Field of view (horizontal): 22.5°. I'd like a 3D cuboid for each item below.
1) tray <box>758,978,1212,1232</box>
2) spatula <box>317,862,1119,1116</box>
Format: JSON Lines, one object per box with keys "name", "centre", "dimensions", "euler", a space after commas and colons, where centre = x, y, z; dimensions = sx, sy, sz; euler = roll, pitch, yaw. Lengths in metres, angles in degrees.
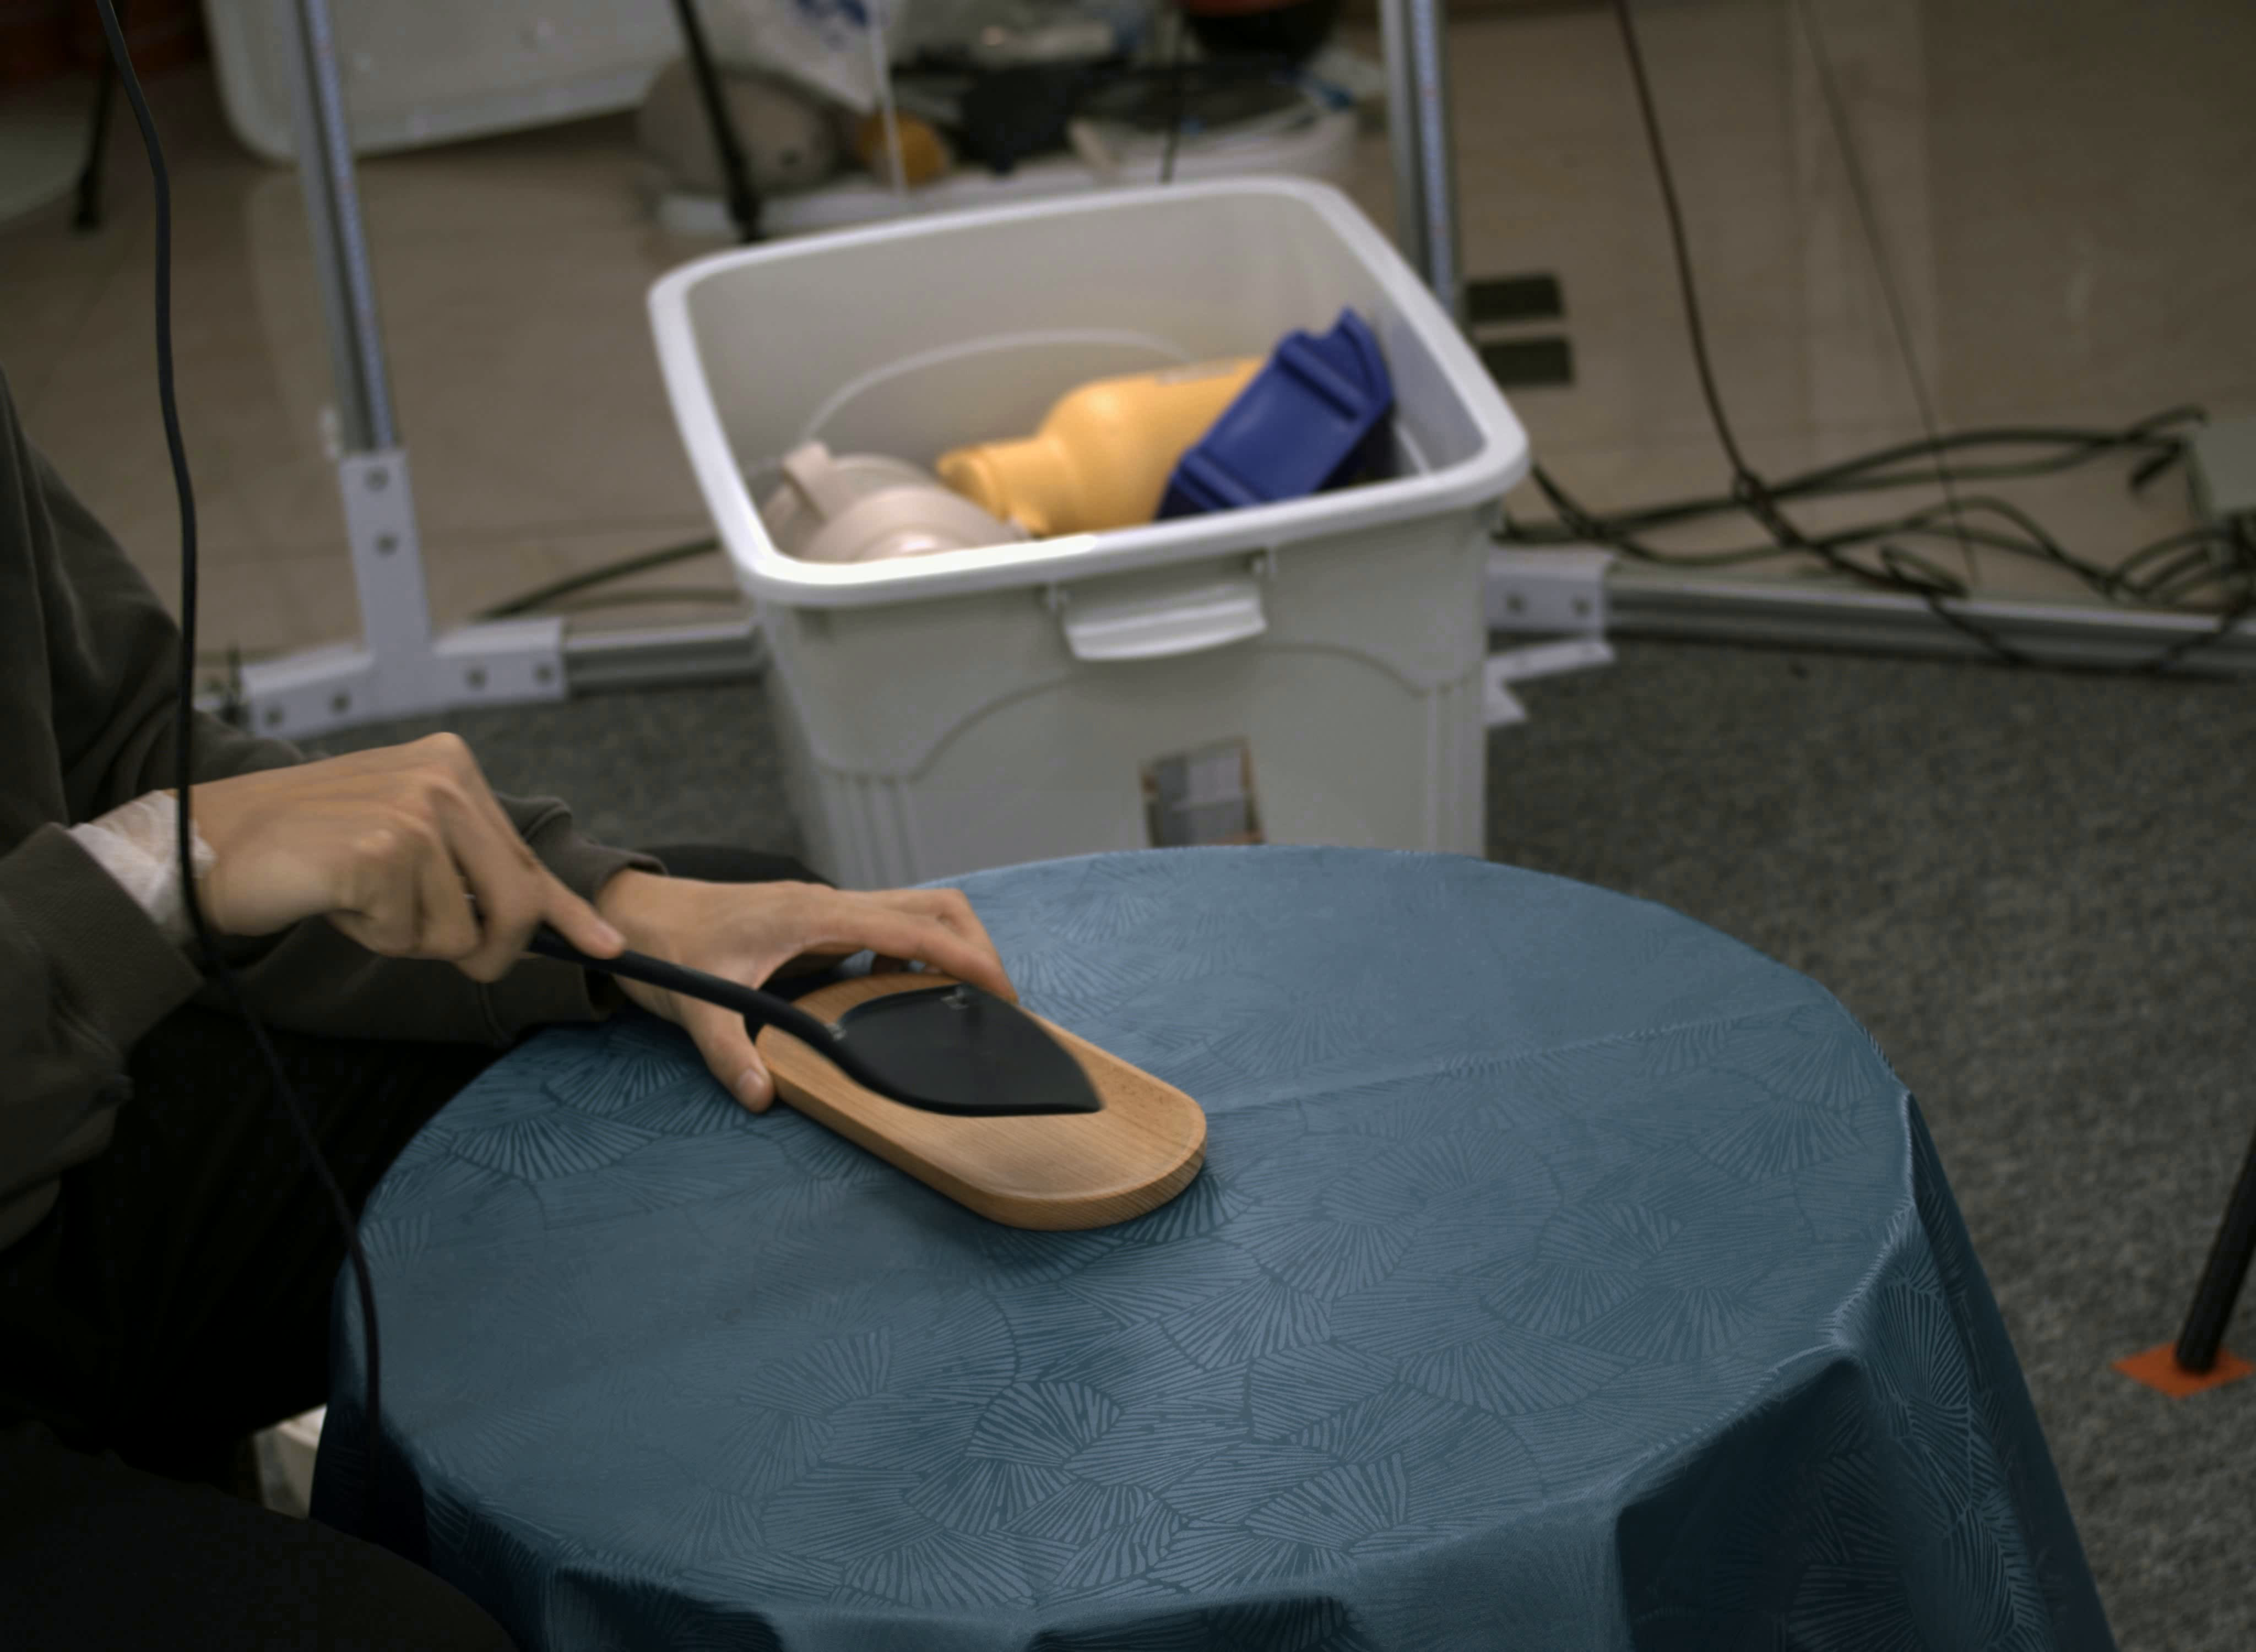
{"name": "tray", "centre": [-0.057, 0.107, 2.209], "dimensions": [0.101, 0.020, 0.229], "euler": [-24, 32, -30]}
{"name": "spatula", "centre": [-0.149, 0.052, 2.051], "dimensions": [0.328, 0.040, 0.098], "euler": [22, 14, -36]}
